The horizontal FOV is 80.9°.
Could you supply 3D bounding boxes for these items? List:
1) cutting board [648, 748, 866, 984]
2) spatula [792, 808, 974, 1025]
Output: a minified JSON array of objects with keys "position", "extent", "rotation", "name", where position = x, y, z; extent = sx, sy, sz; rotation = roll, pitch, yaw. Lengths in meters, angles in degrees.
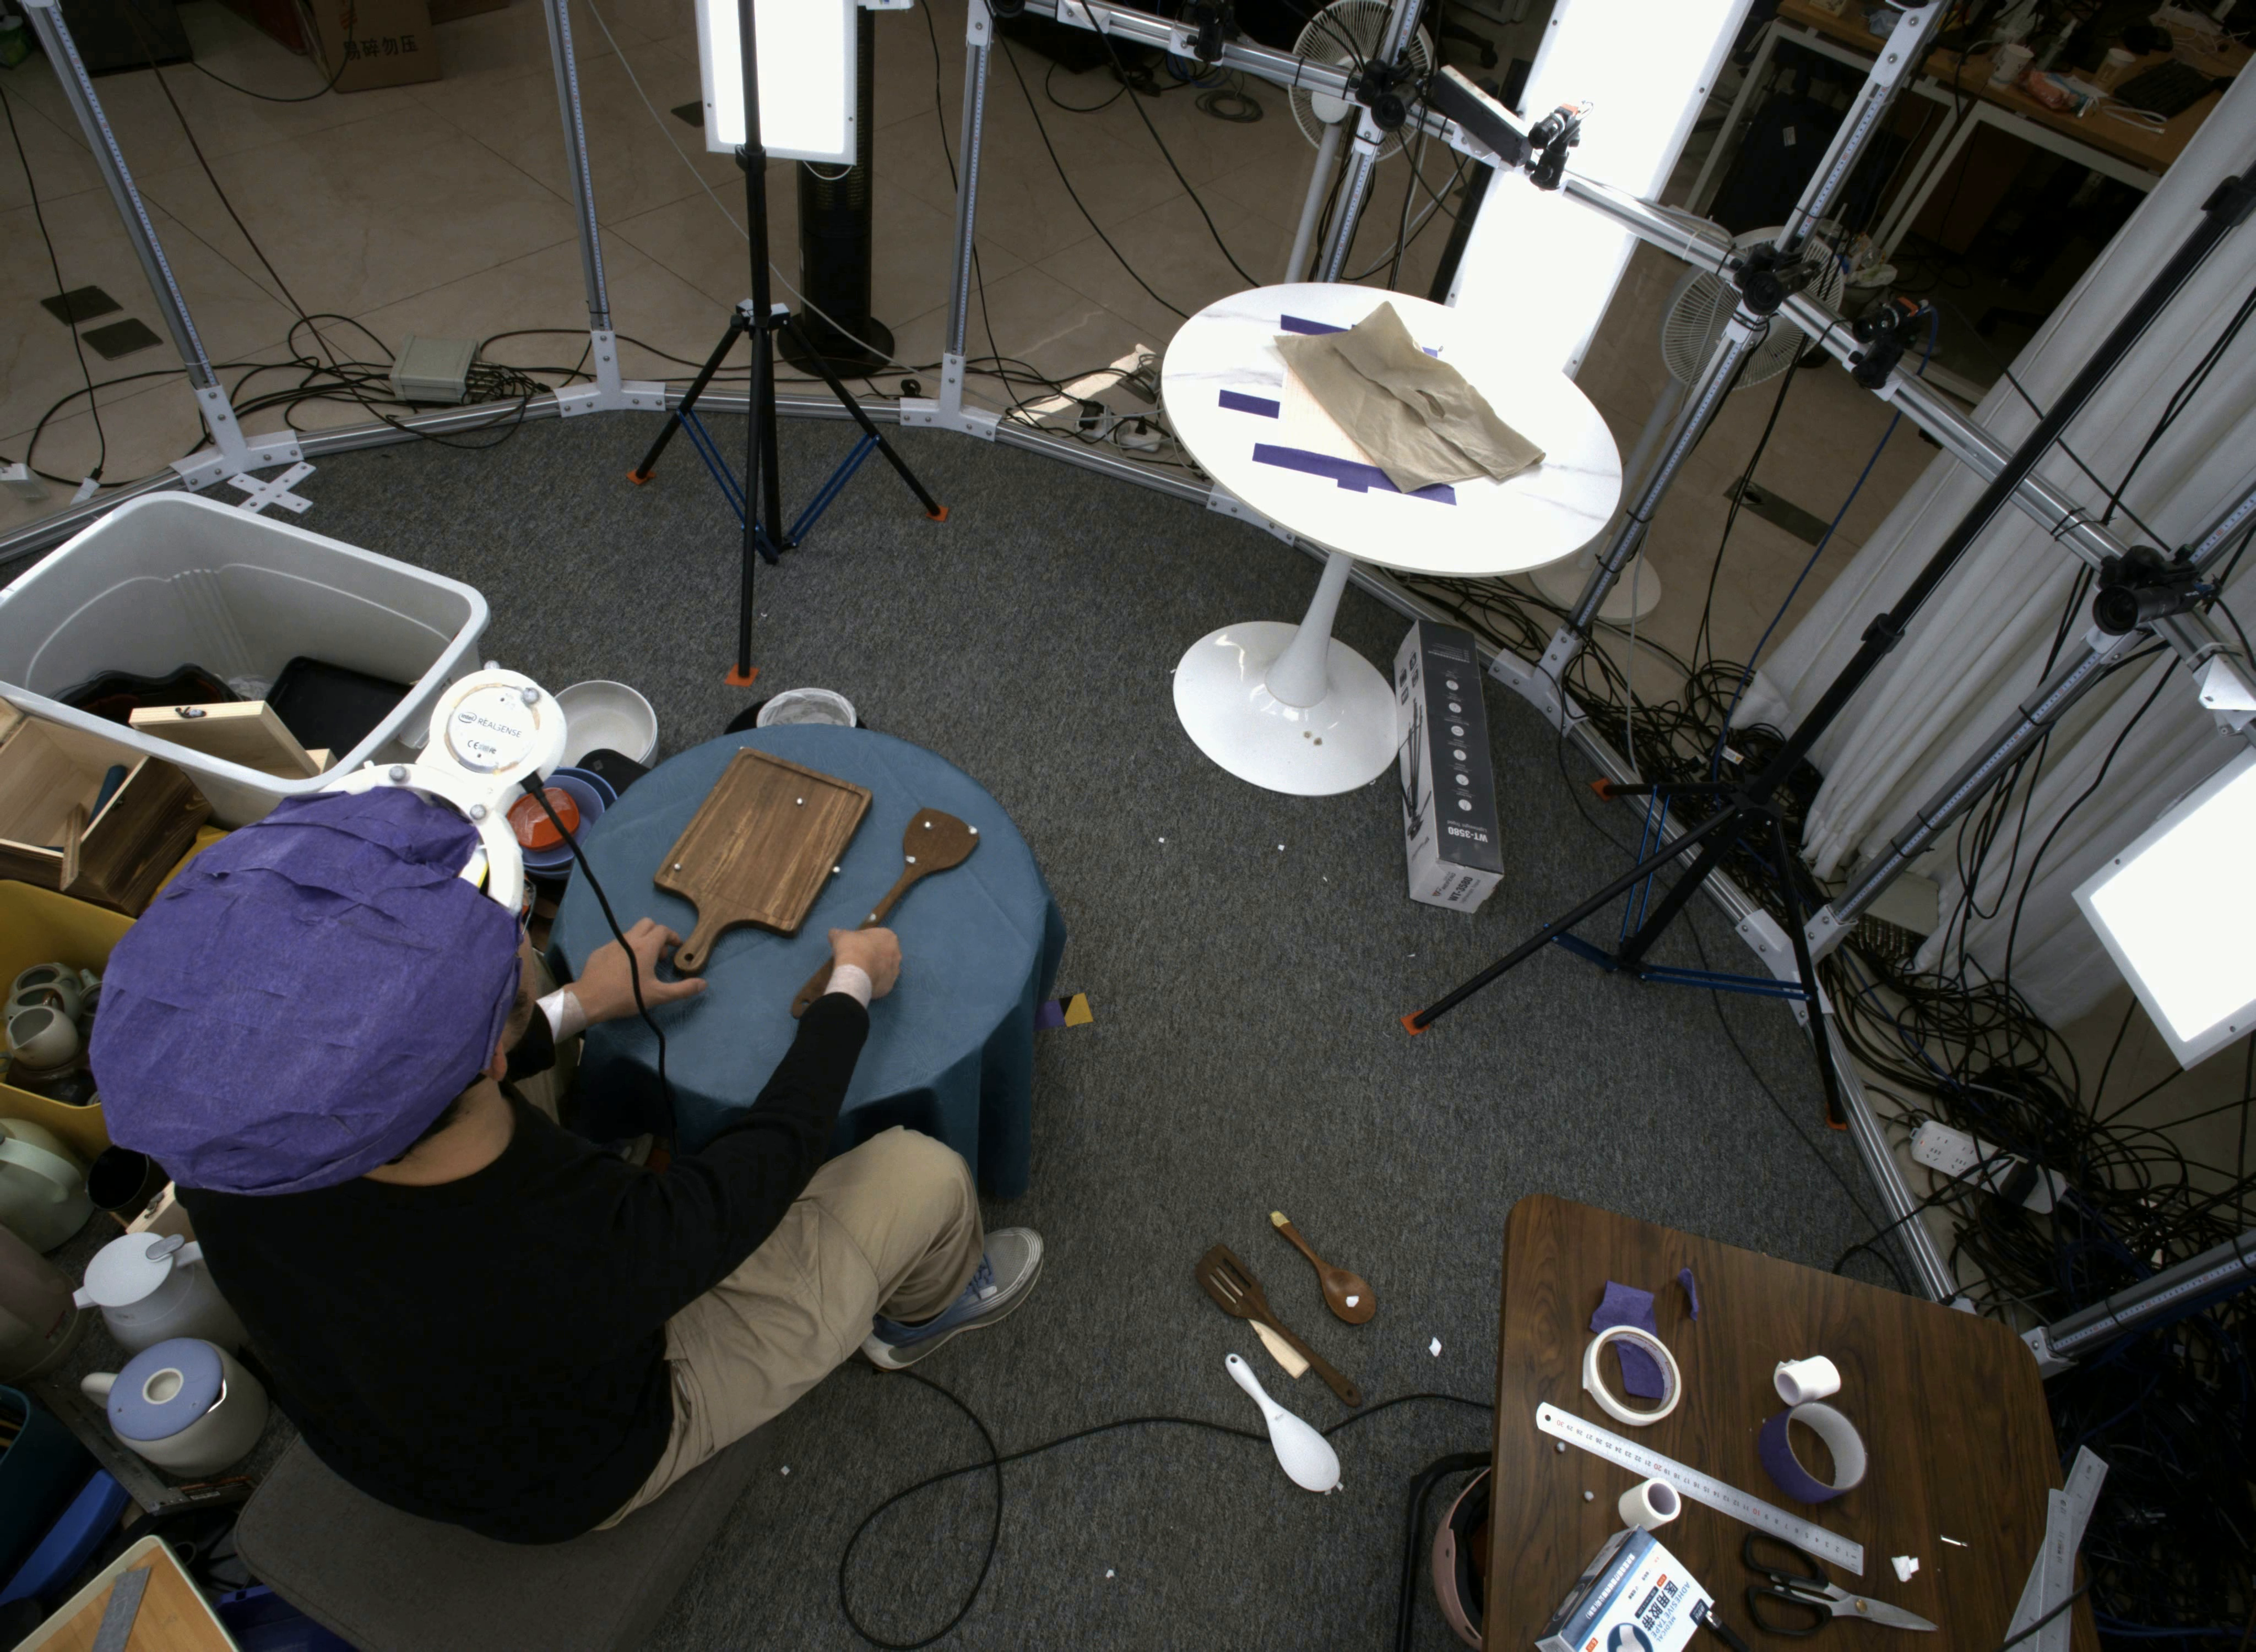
[{"position":[-0.490,0.052,1.649],"extent":[0.199,0.023,0.348],"rotation":[19,51,1],"name":"cutting board"},{"position":[-0.315,0.107,1.644],"extent":[0.095,0.016,0.383],"rotation":[26,46,6],"name":"spatula"}]
